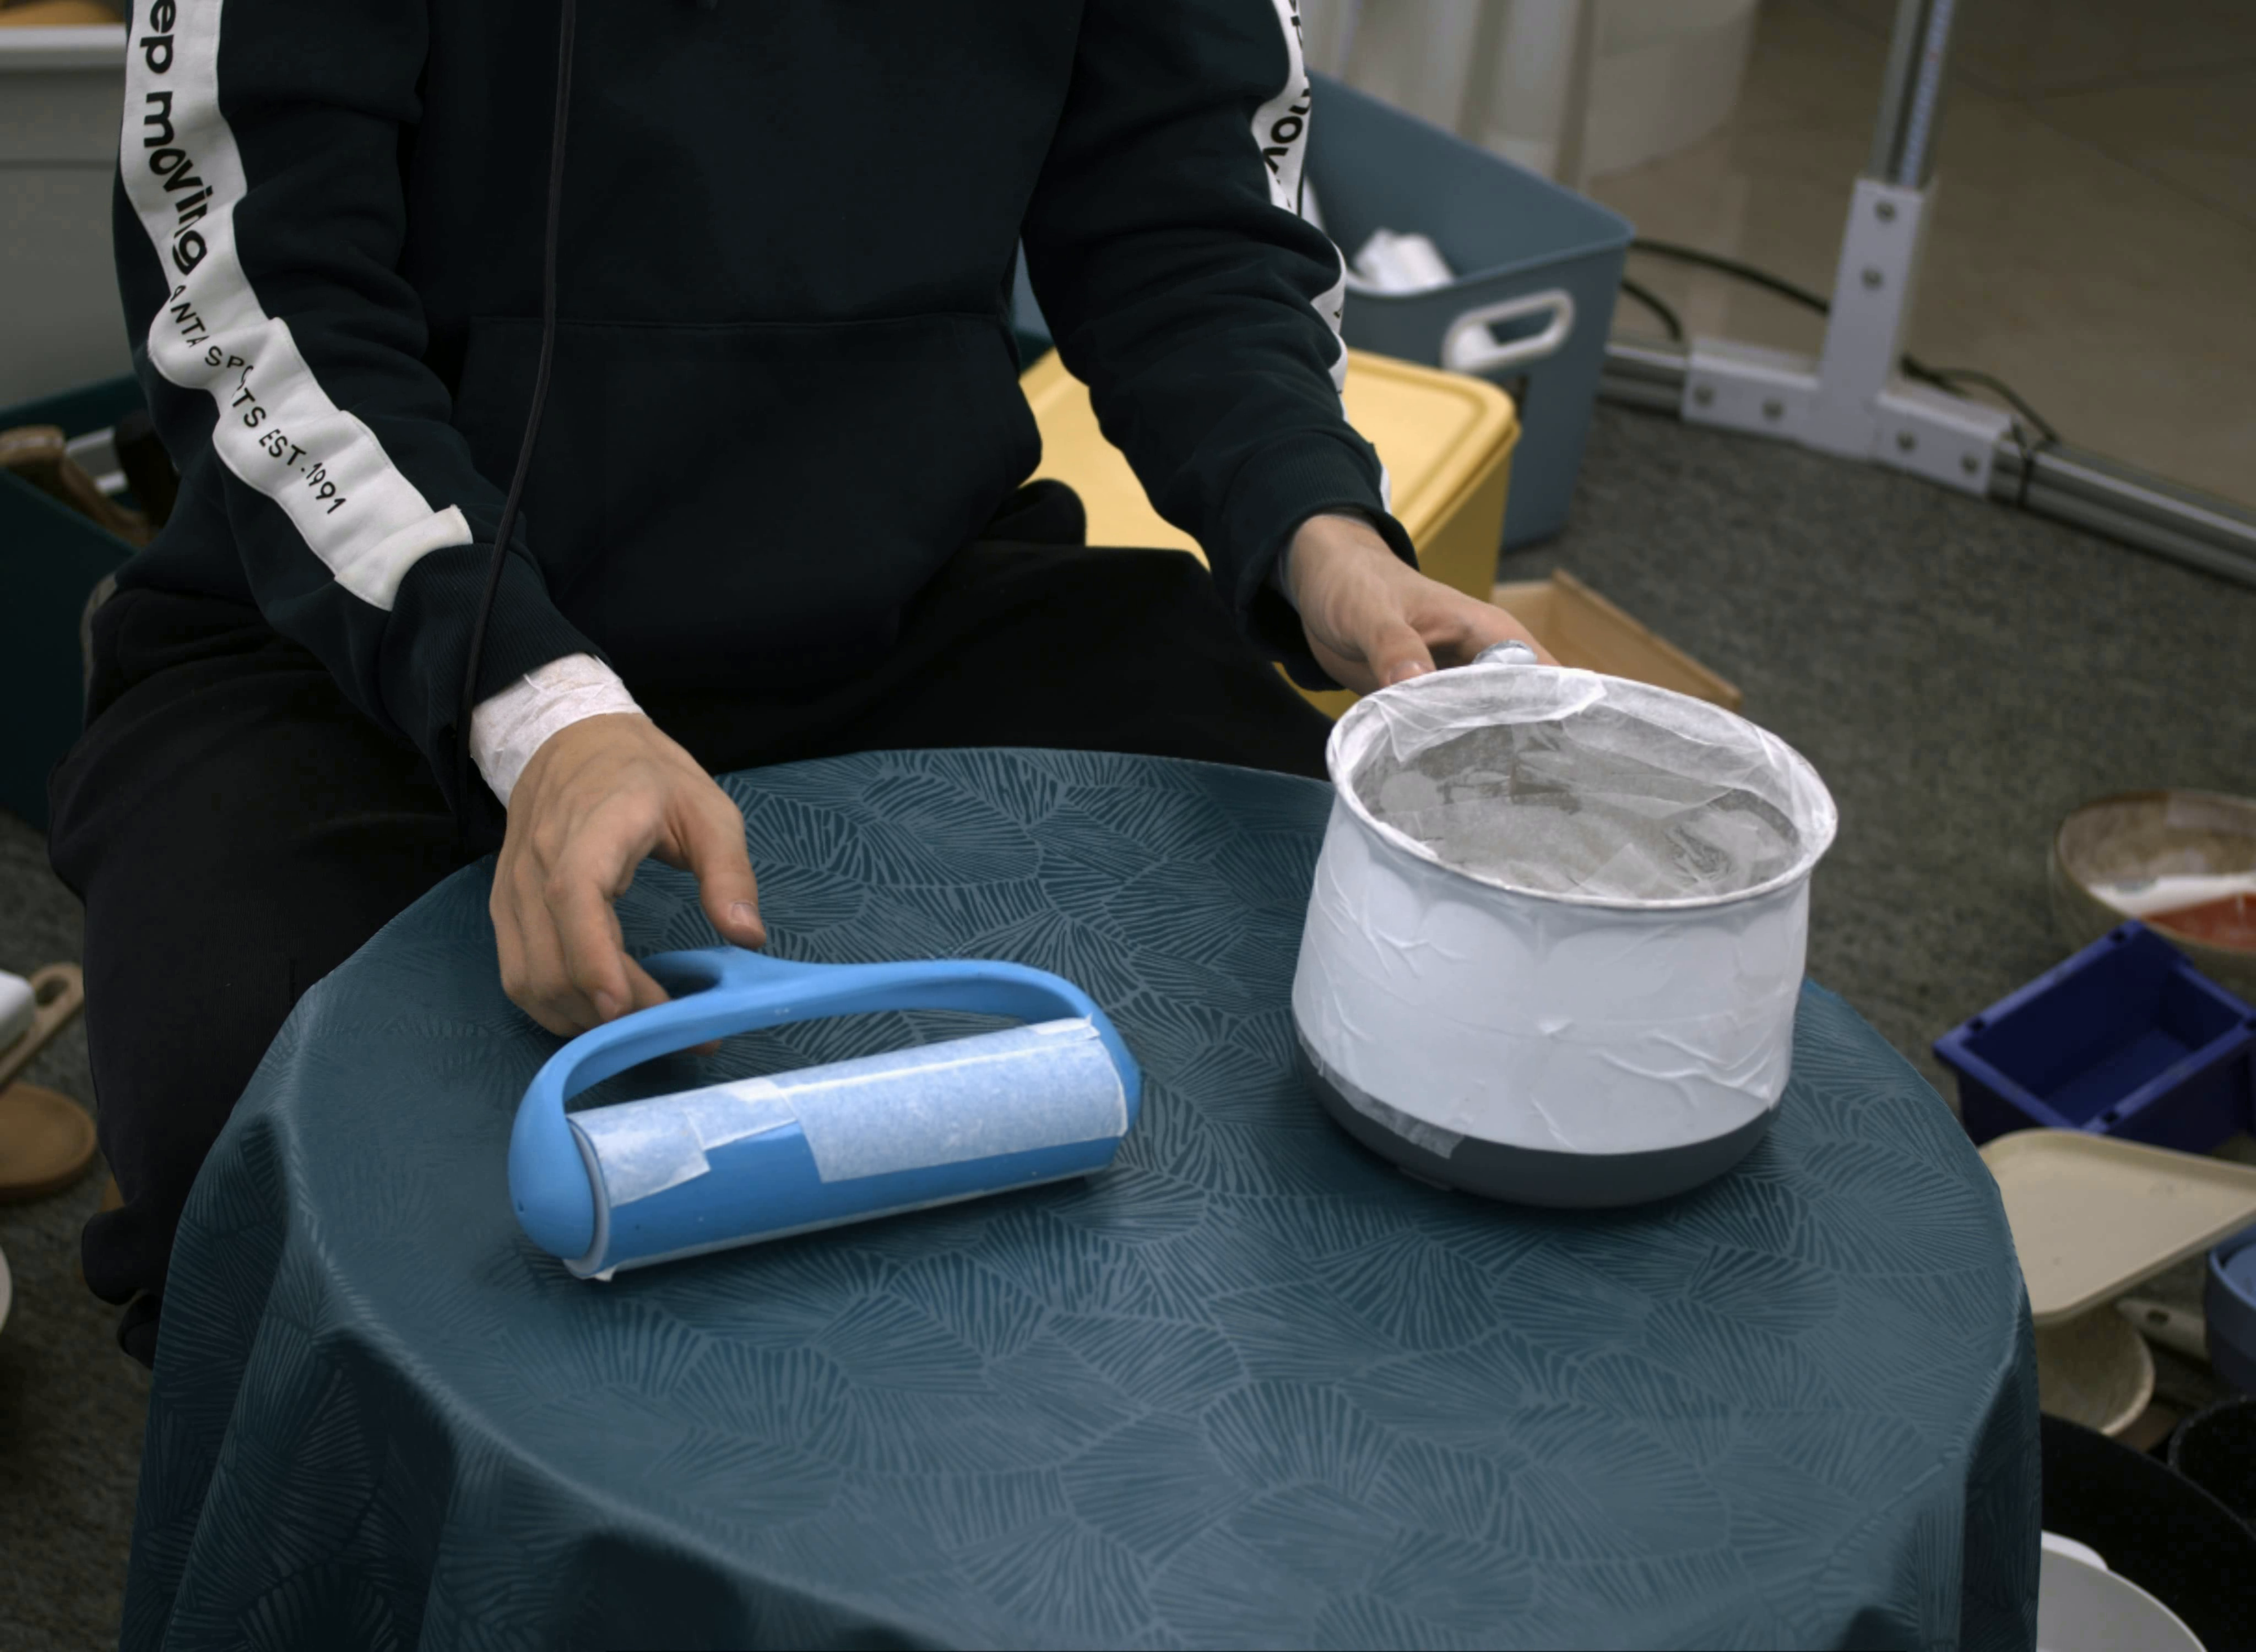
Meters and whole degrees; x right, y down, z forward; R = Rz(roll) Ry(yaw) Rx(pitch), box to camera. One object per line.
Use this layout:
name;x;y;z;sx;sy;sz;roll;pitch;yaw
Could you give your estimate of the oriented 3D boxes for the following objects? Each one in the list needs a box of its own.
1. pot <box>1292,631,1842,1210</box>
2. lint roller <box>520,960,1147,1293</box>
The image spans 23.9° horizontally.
pot;0.143;0.026;1.867;0.178;0.136;0.235;1;29;-12
lint roller;-0.126;0.080;1.794;0.227;0.067;0.182;-14;34;-31
